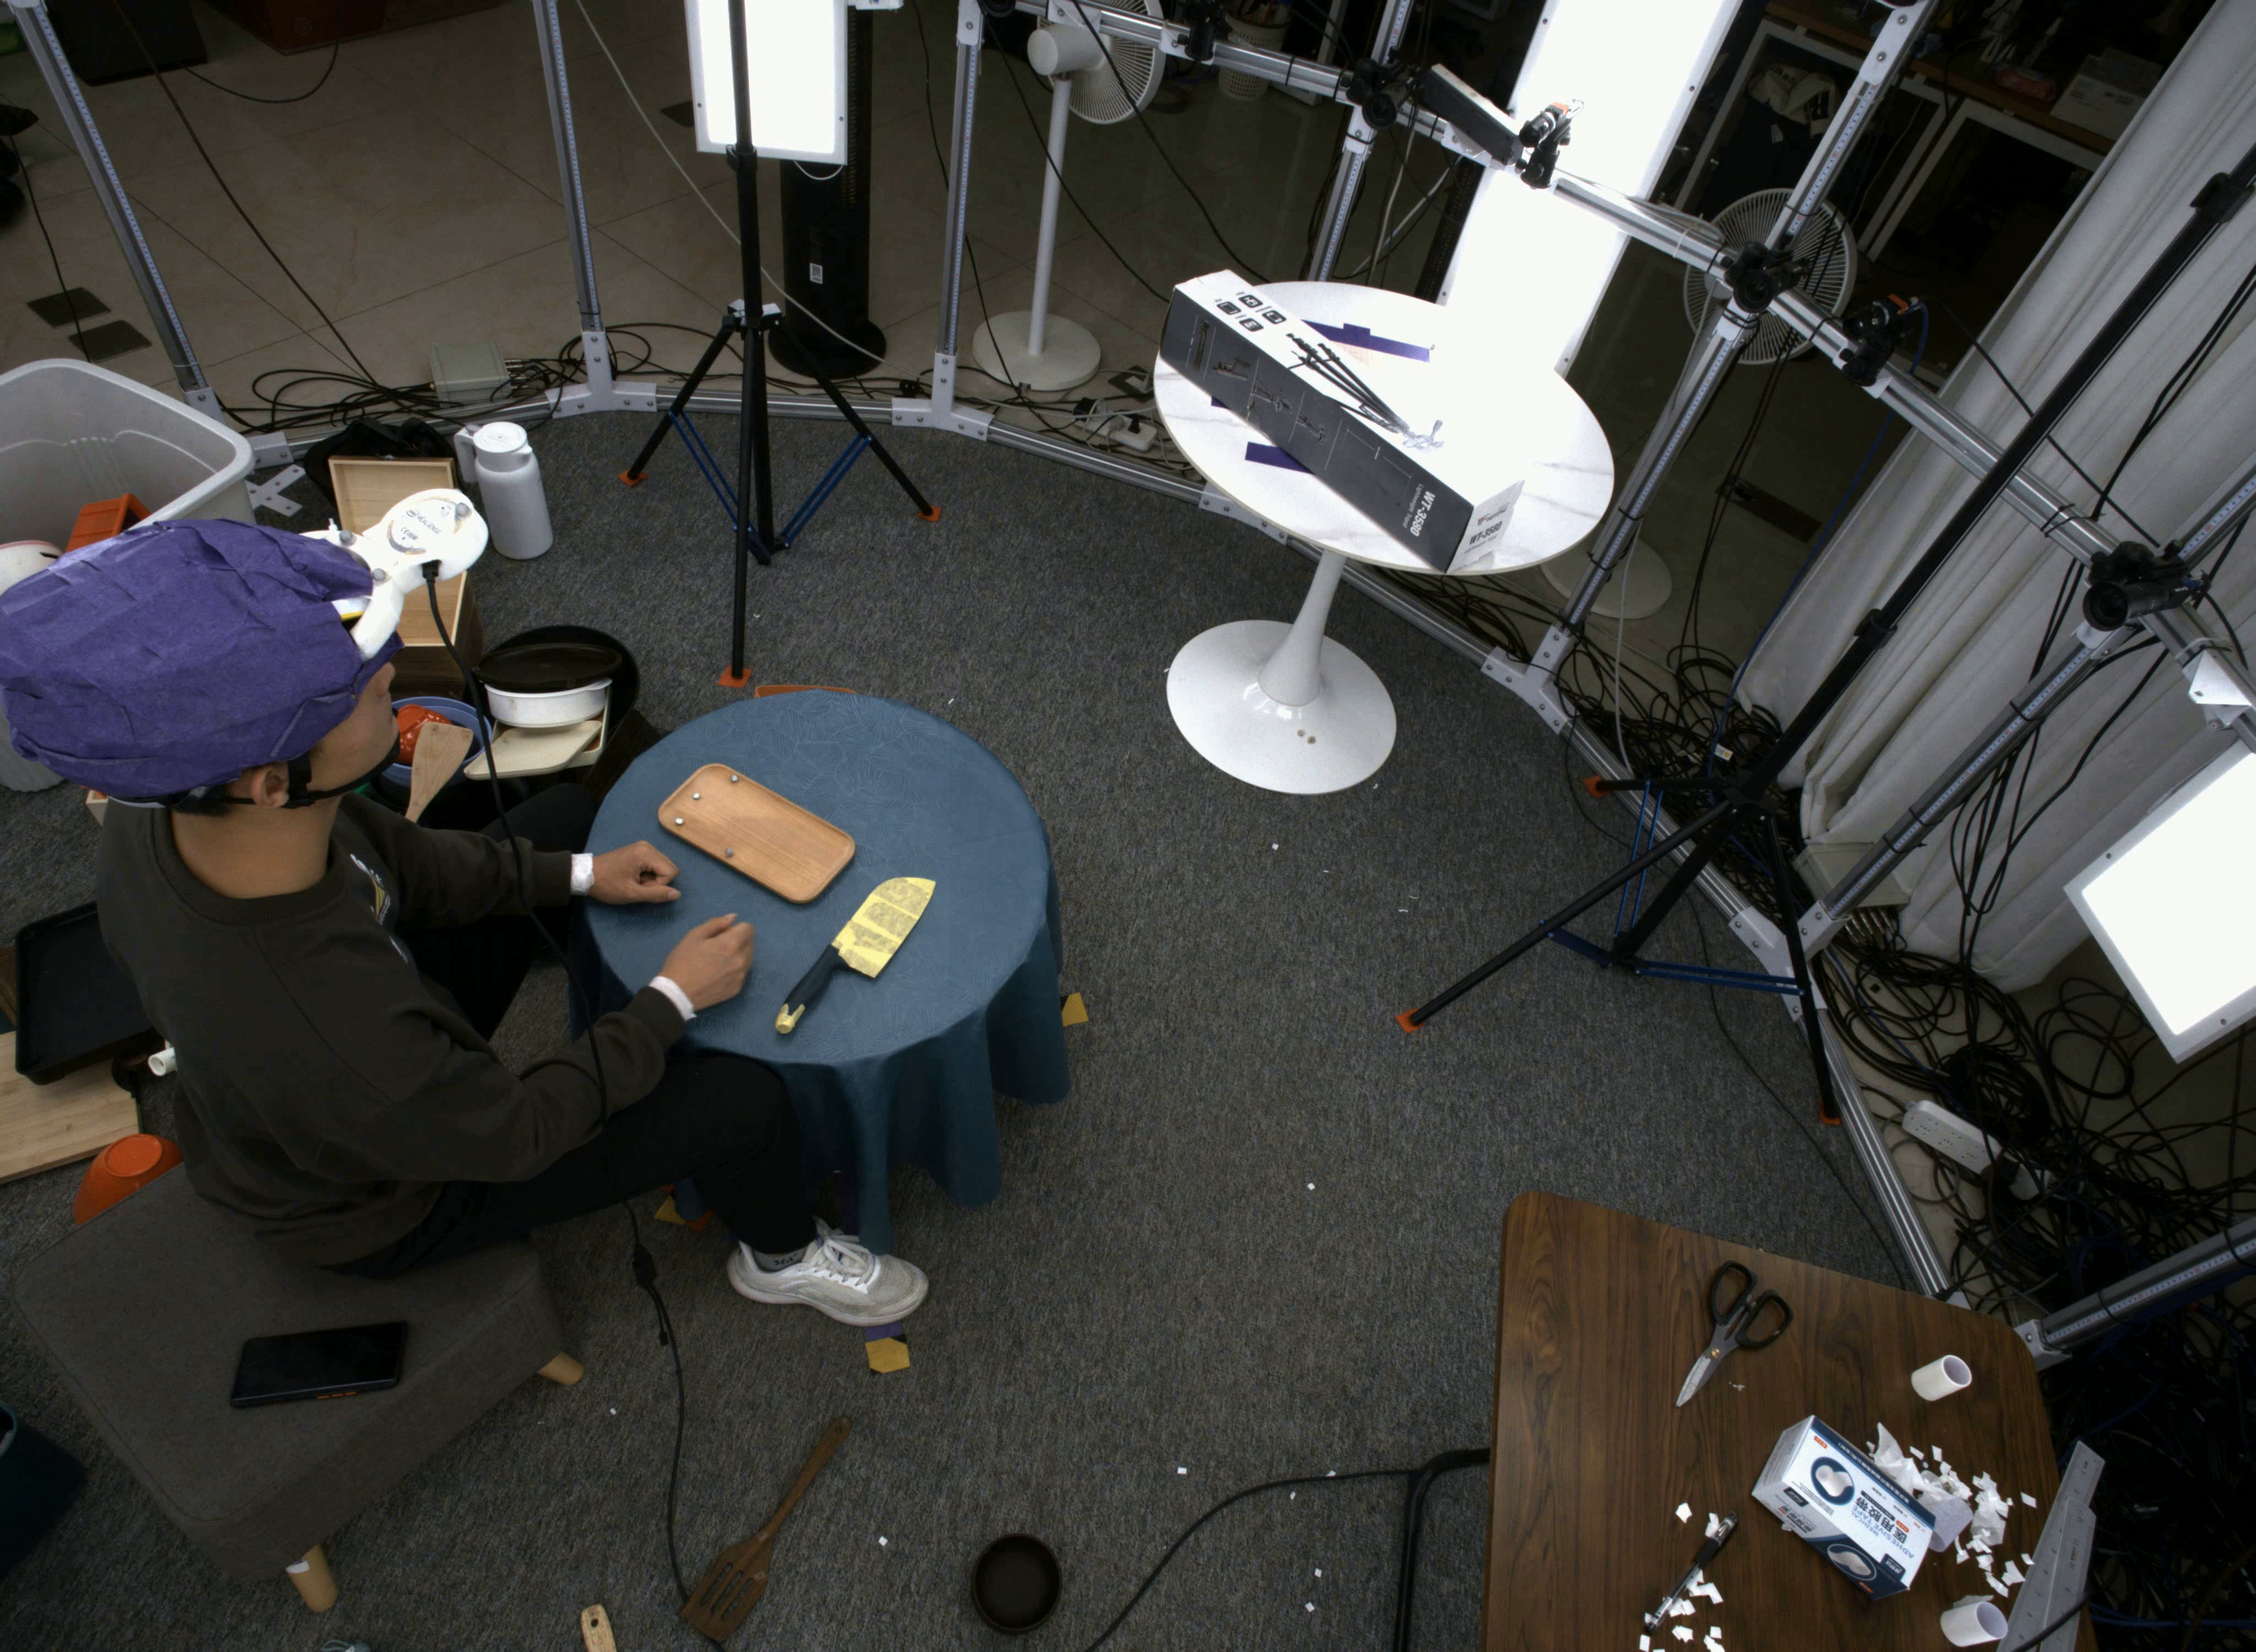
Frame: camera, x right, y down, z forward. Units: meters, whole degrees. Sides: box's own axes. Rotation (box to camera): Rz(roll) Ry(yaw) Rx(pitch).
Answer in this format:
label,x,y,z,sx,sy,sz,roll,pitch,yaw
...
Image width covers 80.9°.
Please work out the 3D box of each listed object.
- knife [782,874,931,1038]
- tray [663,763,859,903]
label,x,y,z,sx,sy,sz,roll,pitch,yaw
knife,-0.336,0.156,1.632,0.079,0.028,0.288,28,51,9
tray,-0.483,0.007,1.704,0.247,0.023,0.130,29,55,7
